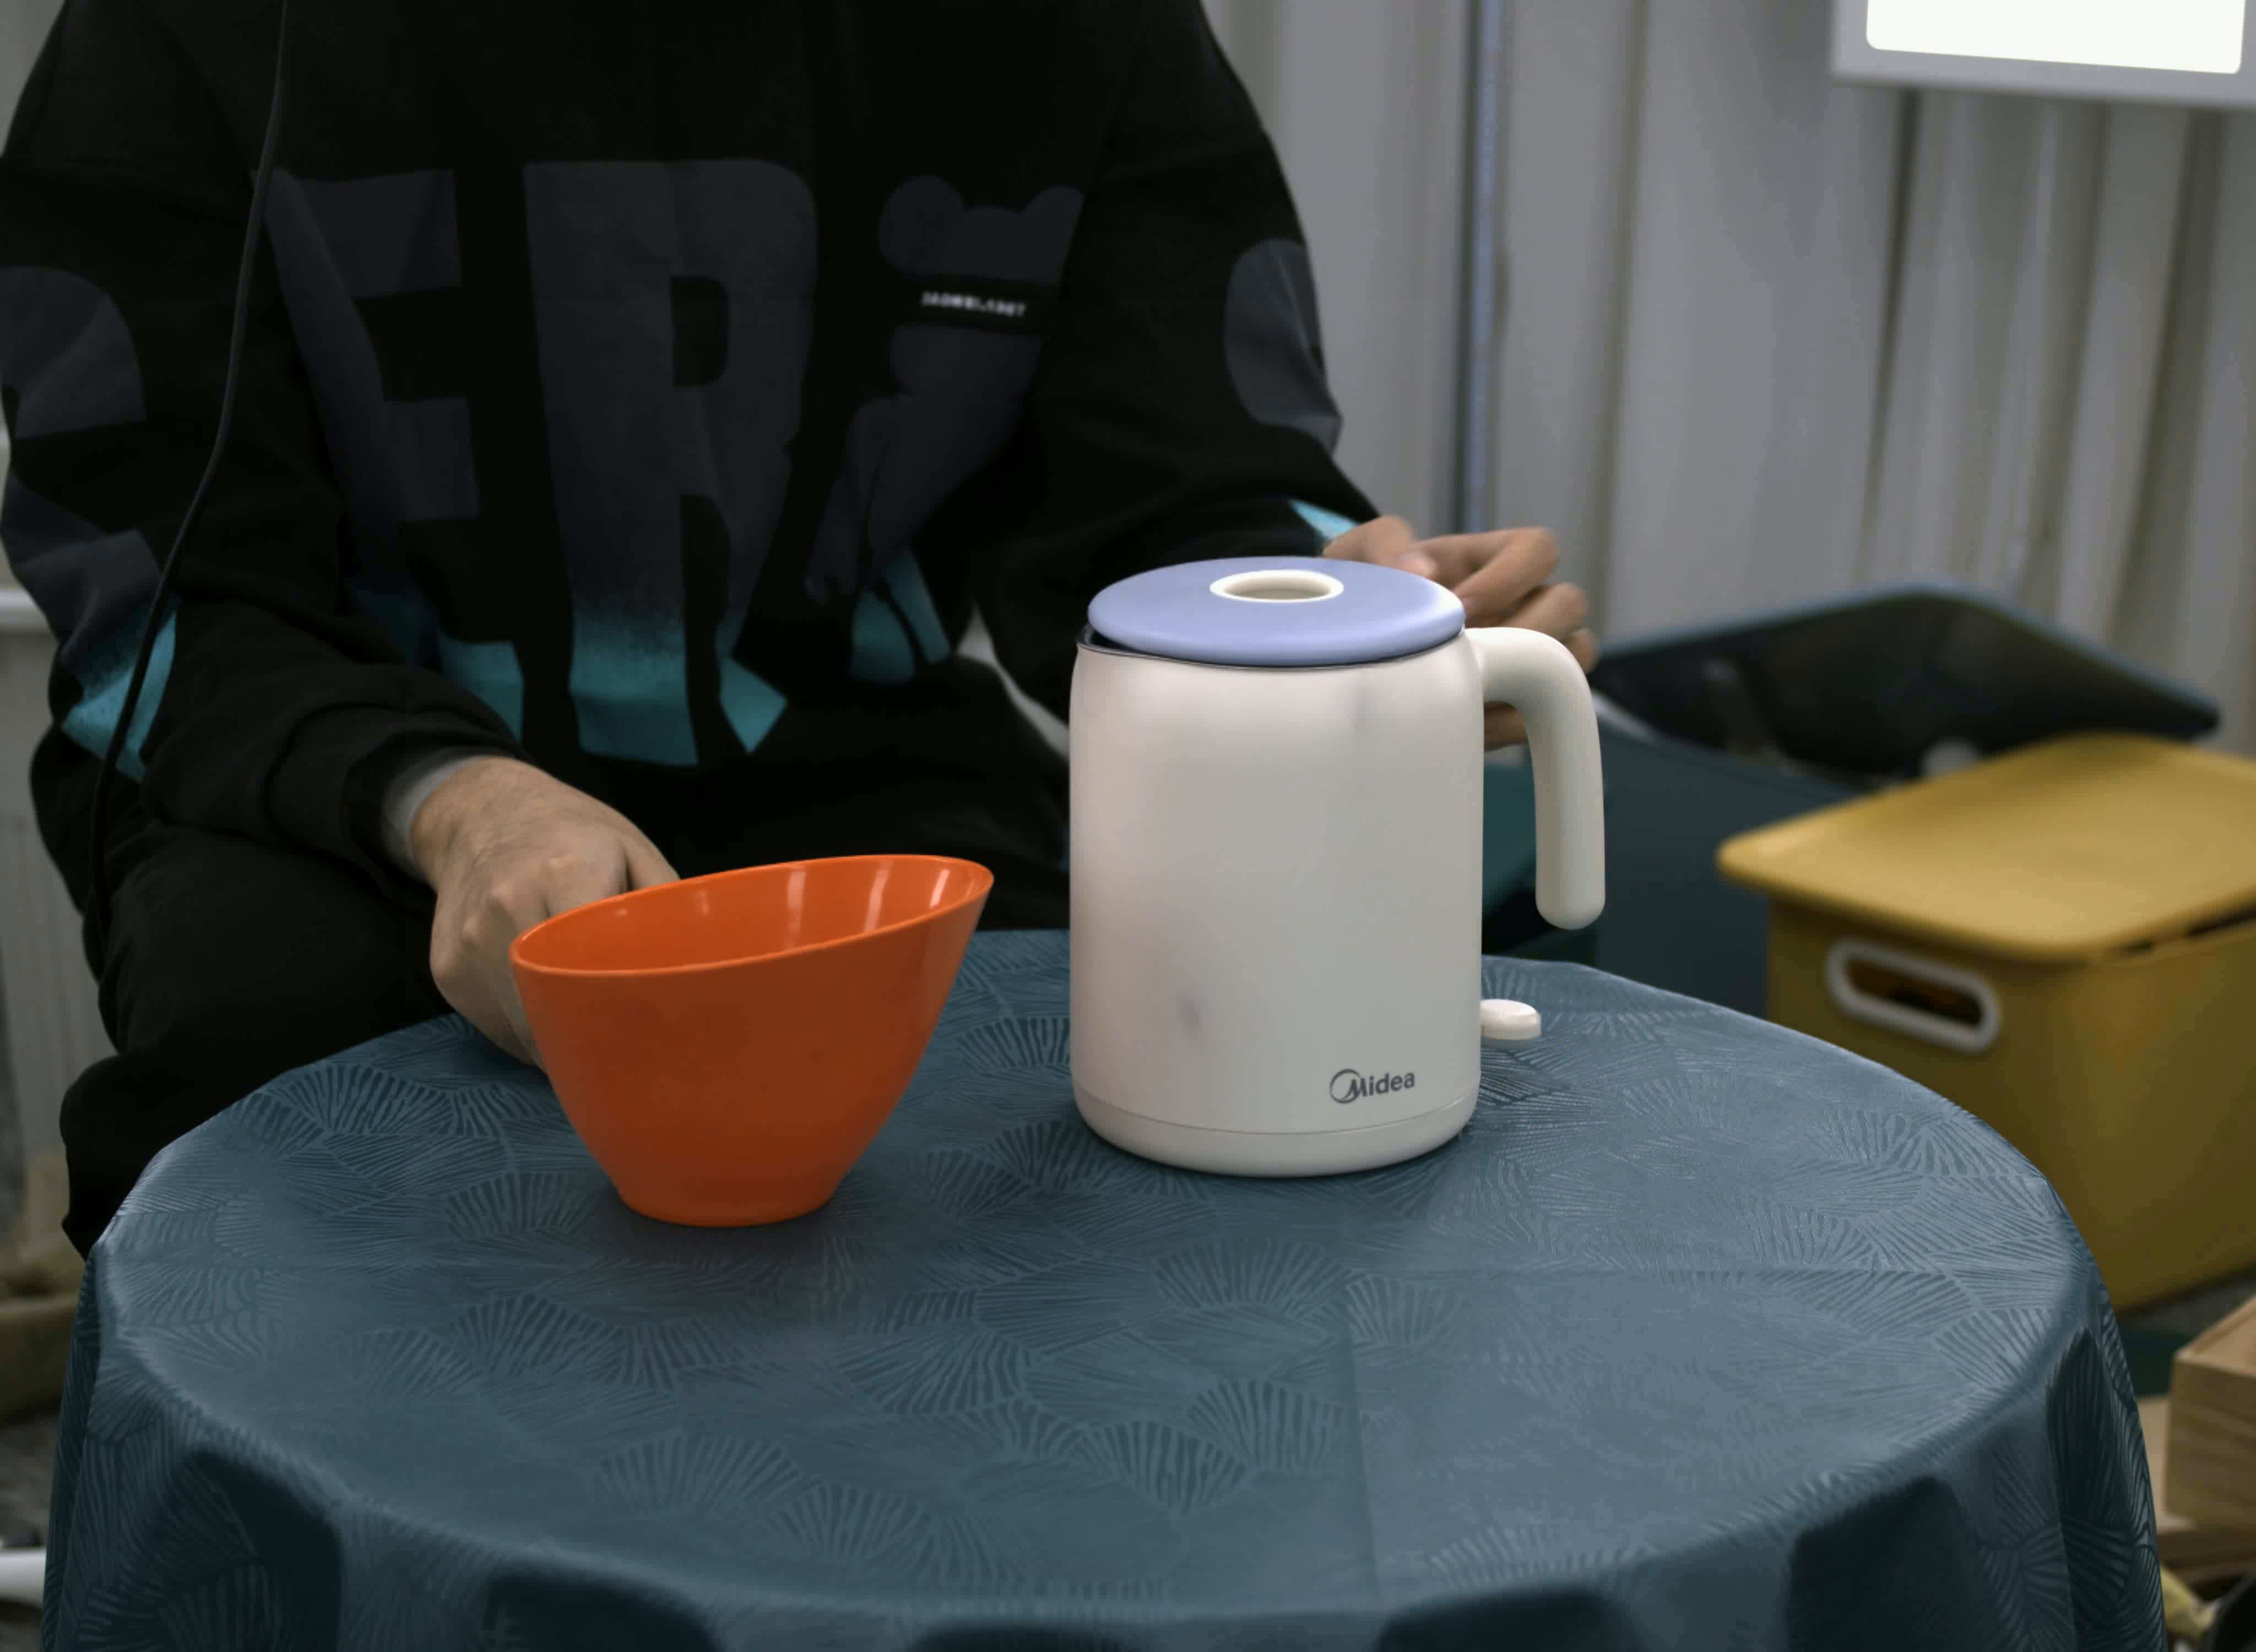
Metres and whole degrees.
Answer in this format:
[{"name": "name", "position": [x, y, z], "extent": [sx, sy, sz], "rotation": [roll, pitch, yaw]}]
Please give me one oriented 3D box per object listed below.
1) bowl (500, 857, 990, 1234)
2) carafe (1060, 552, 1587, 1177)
[{"name": "bowl", "position": [-0.116, 0.066, 1.594], "extent": [0.147, 0.105, 0.147], "rotation": [1, 16, 0]}, {"name": "carafe", "position": [0.067, 0.009, 1.675], "extent": [0.192, 0.184, 0.130], "rotation": [-6, 18, -28]}]
